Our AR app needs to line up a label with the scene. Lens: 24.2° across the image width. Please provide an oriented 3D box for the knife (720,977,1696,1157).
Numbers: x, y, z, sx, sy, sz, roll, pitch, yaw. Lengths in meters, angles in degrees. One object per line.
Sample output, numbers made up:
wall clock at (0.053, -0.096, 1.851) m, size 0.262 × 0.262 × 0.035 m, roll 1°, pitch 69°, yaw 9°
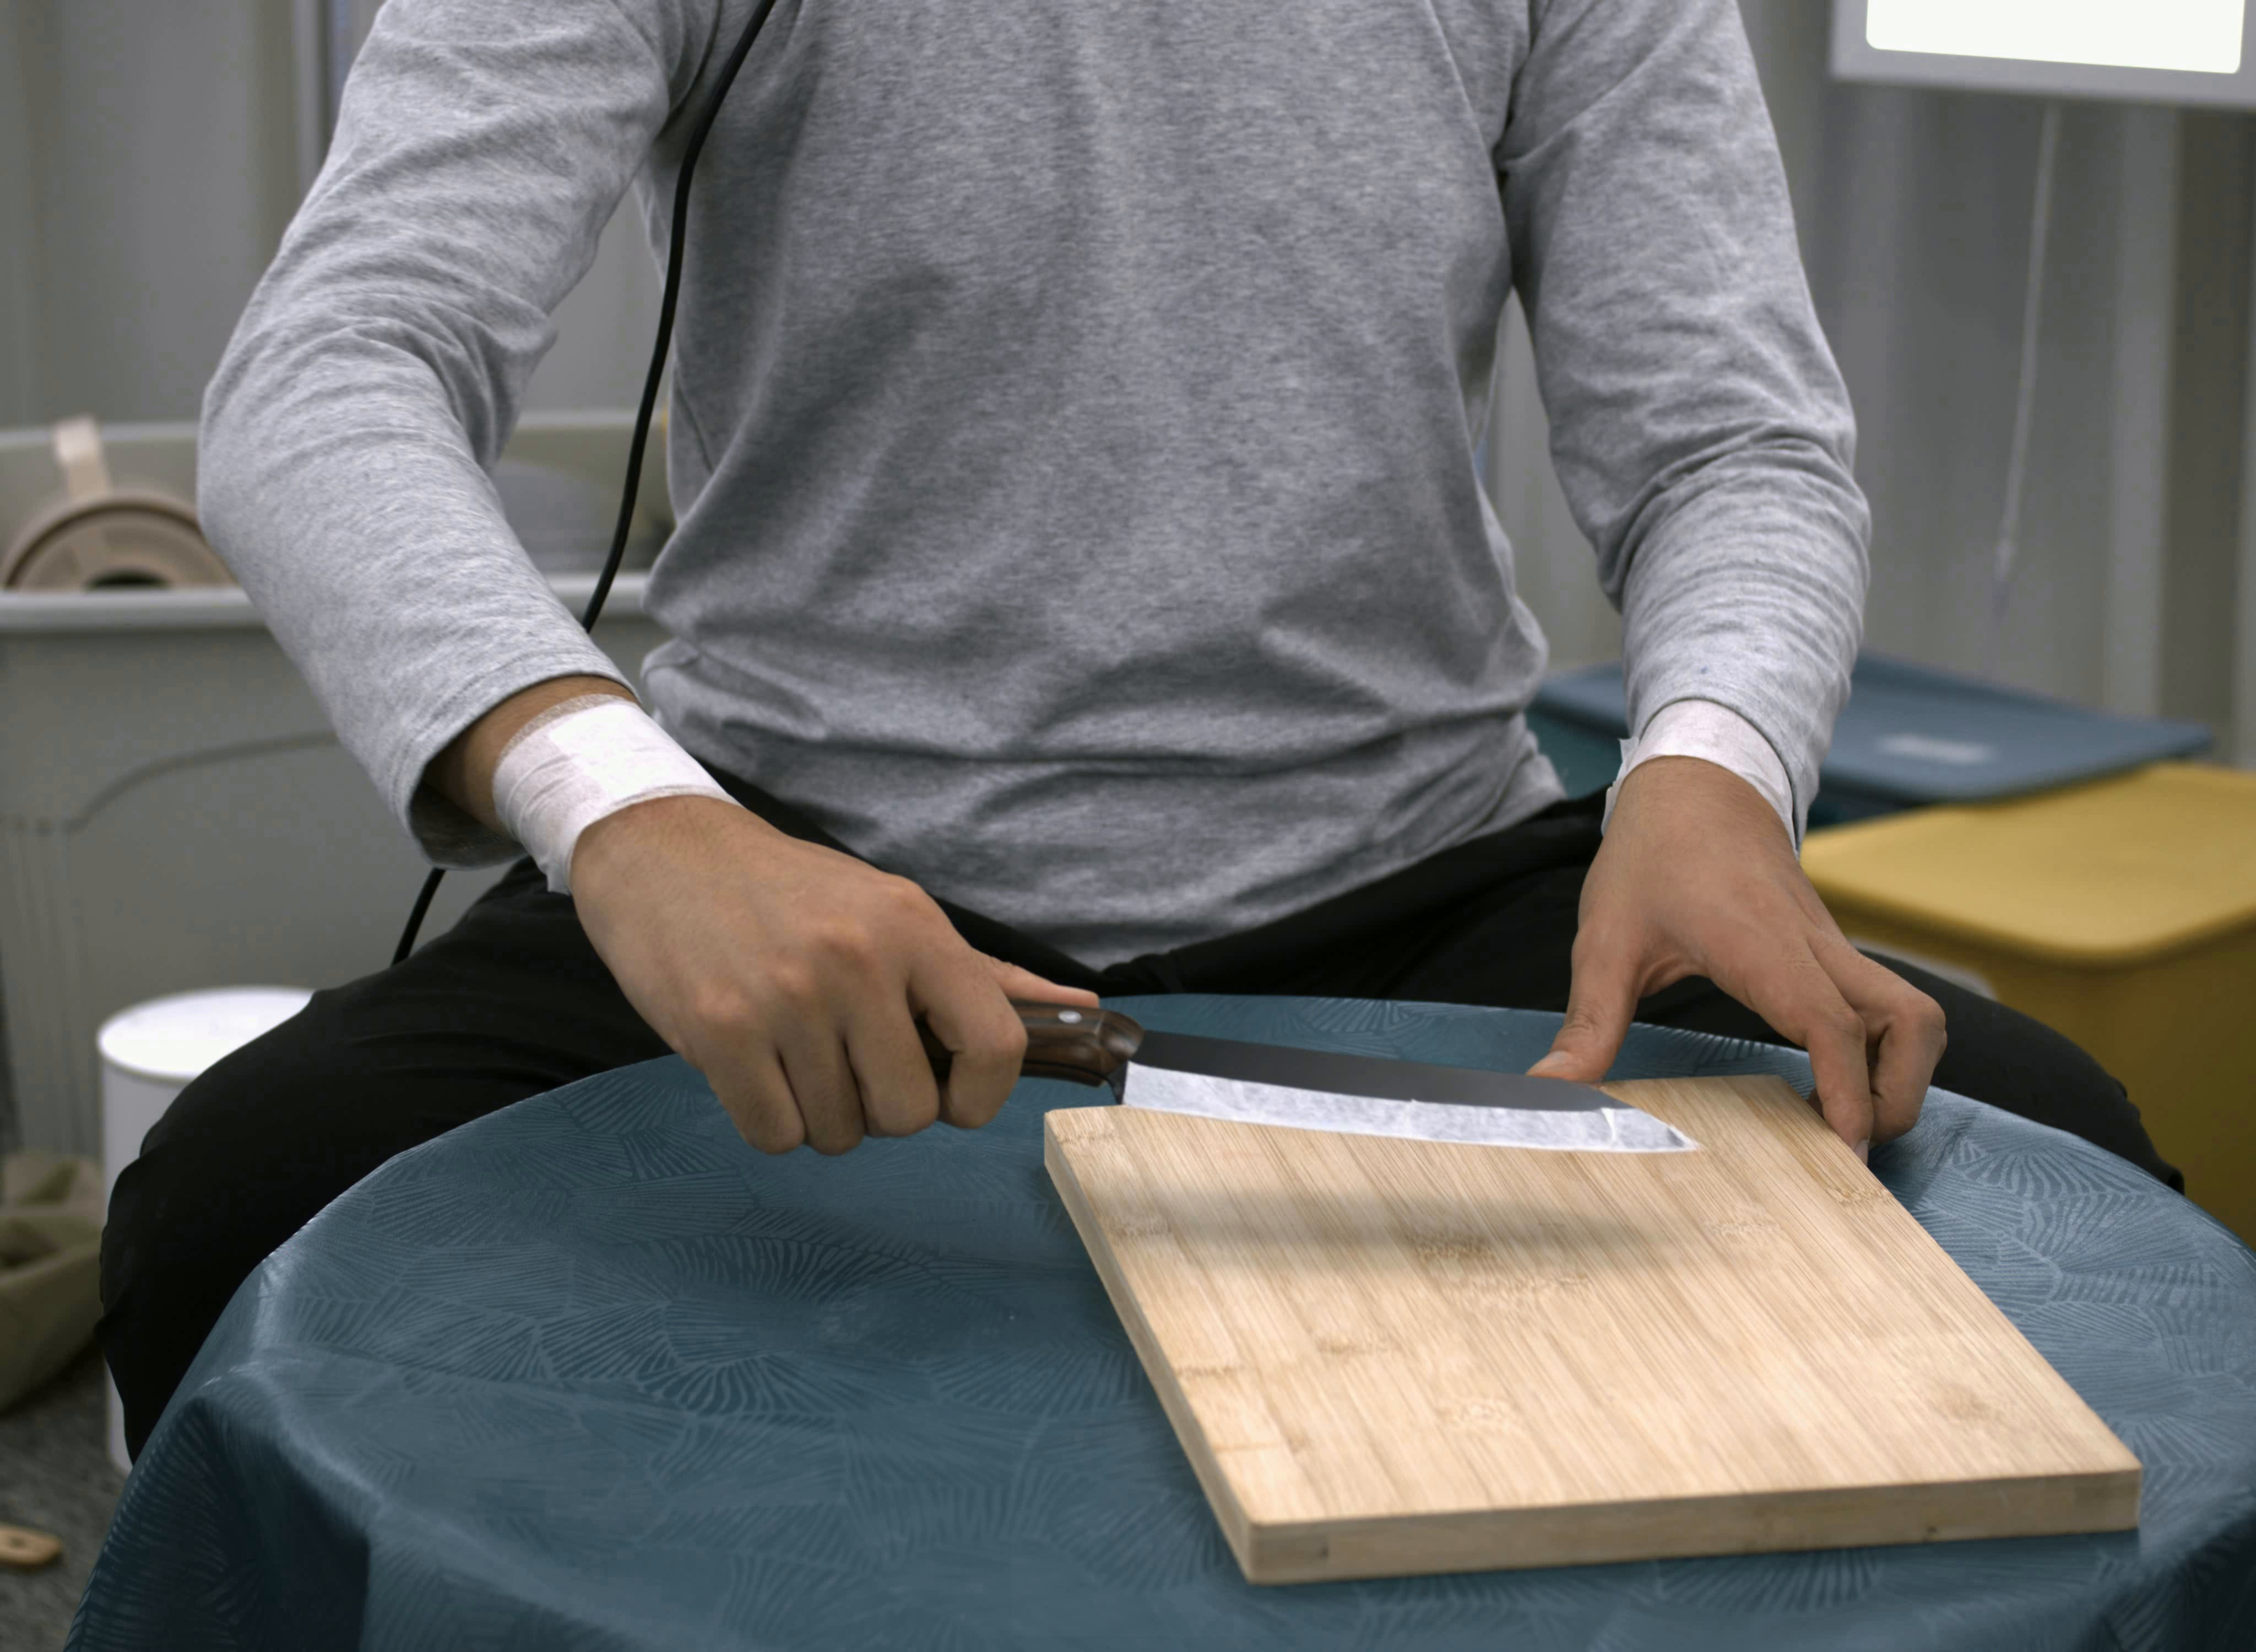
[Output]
knife at (0.022, 0.072, 1.531) m, size 0.288 × 0.020 × 0.050 m, roll 8°, pitch 31°, yaw 3°

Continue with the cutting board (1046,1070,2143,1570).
cutting board at (0.119, 0.135, 1.516) m, size 0.251 × 0.024 × 0.345 m, roll -2°, pitch 15°, yaw -11°
